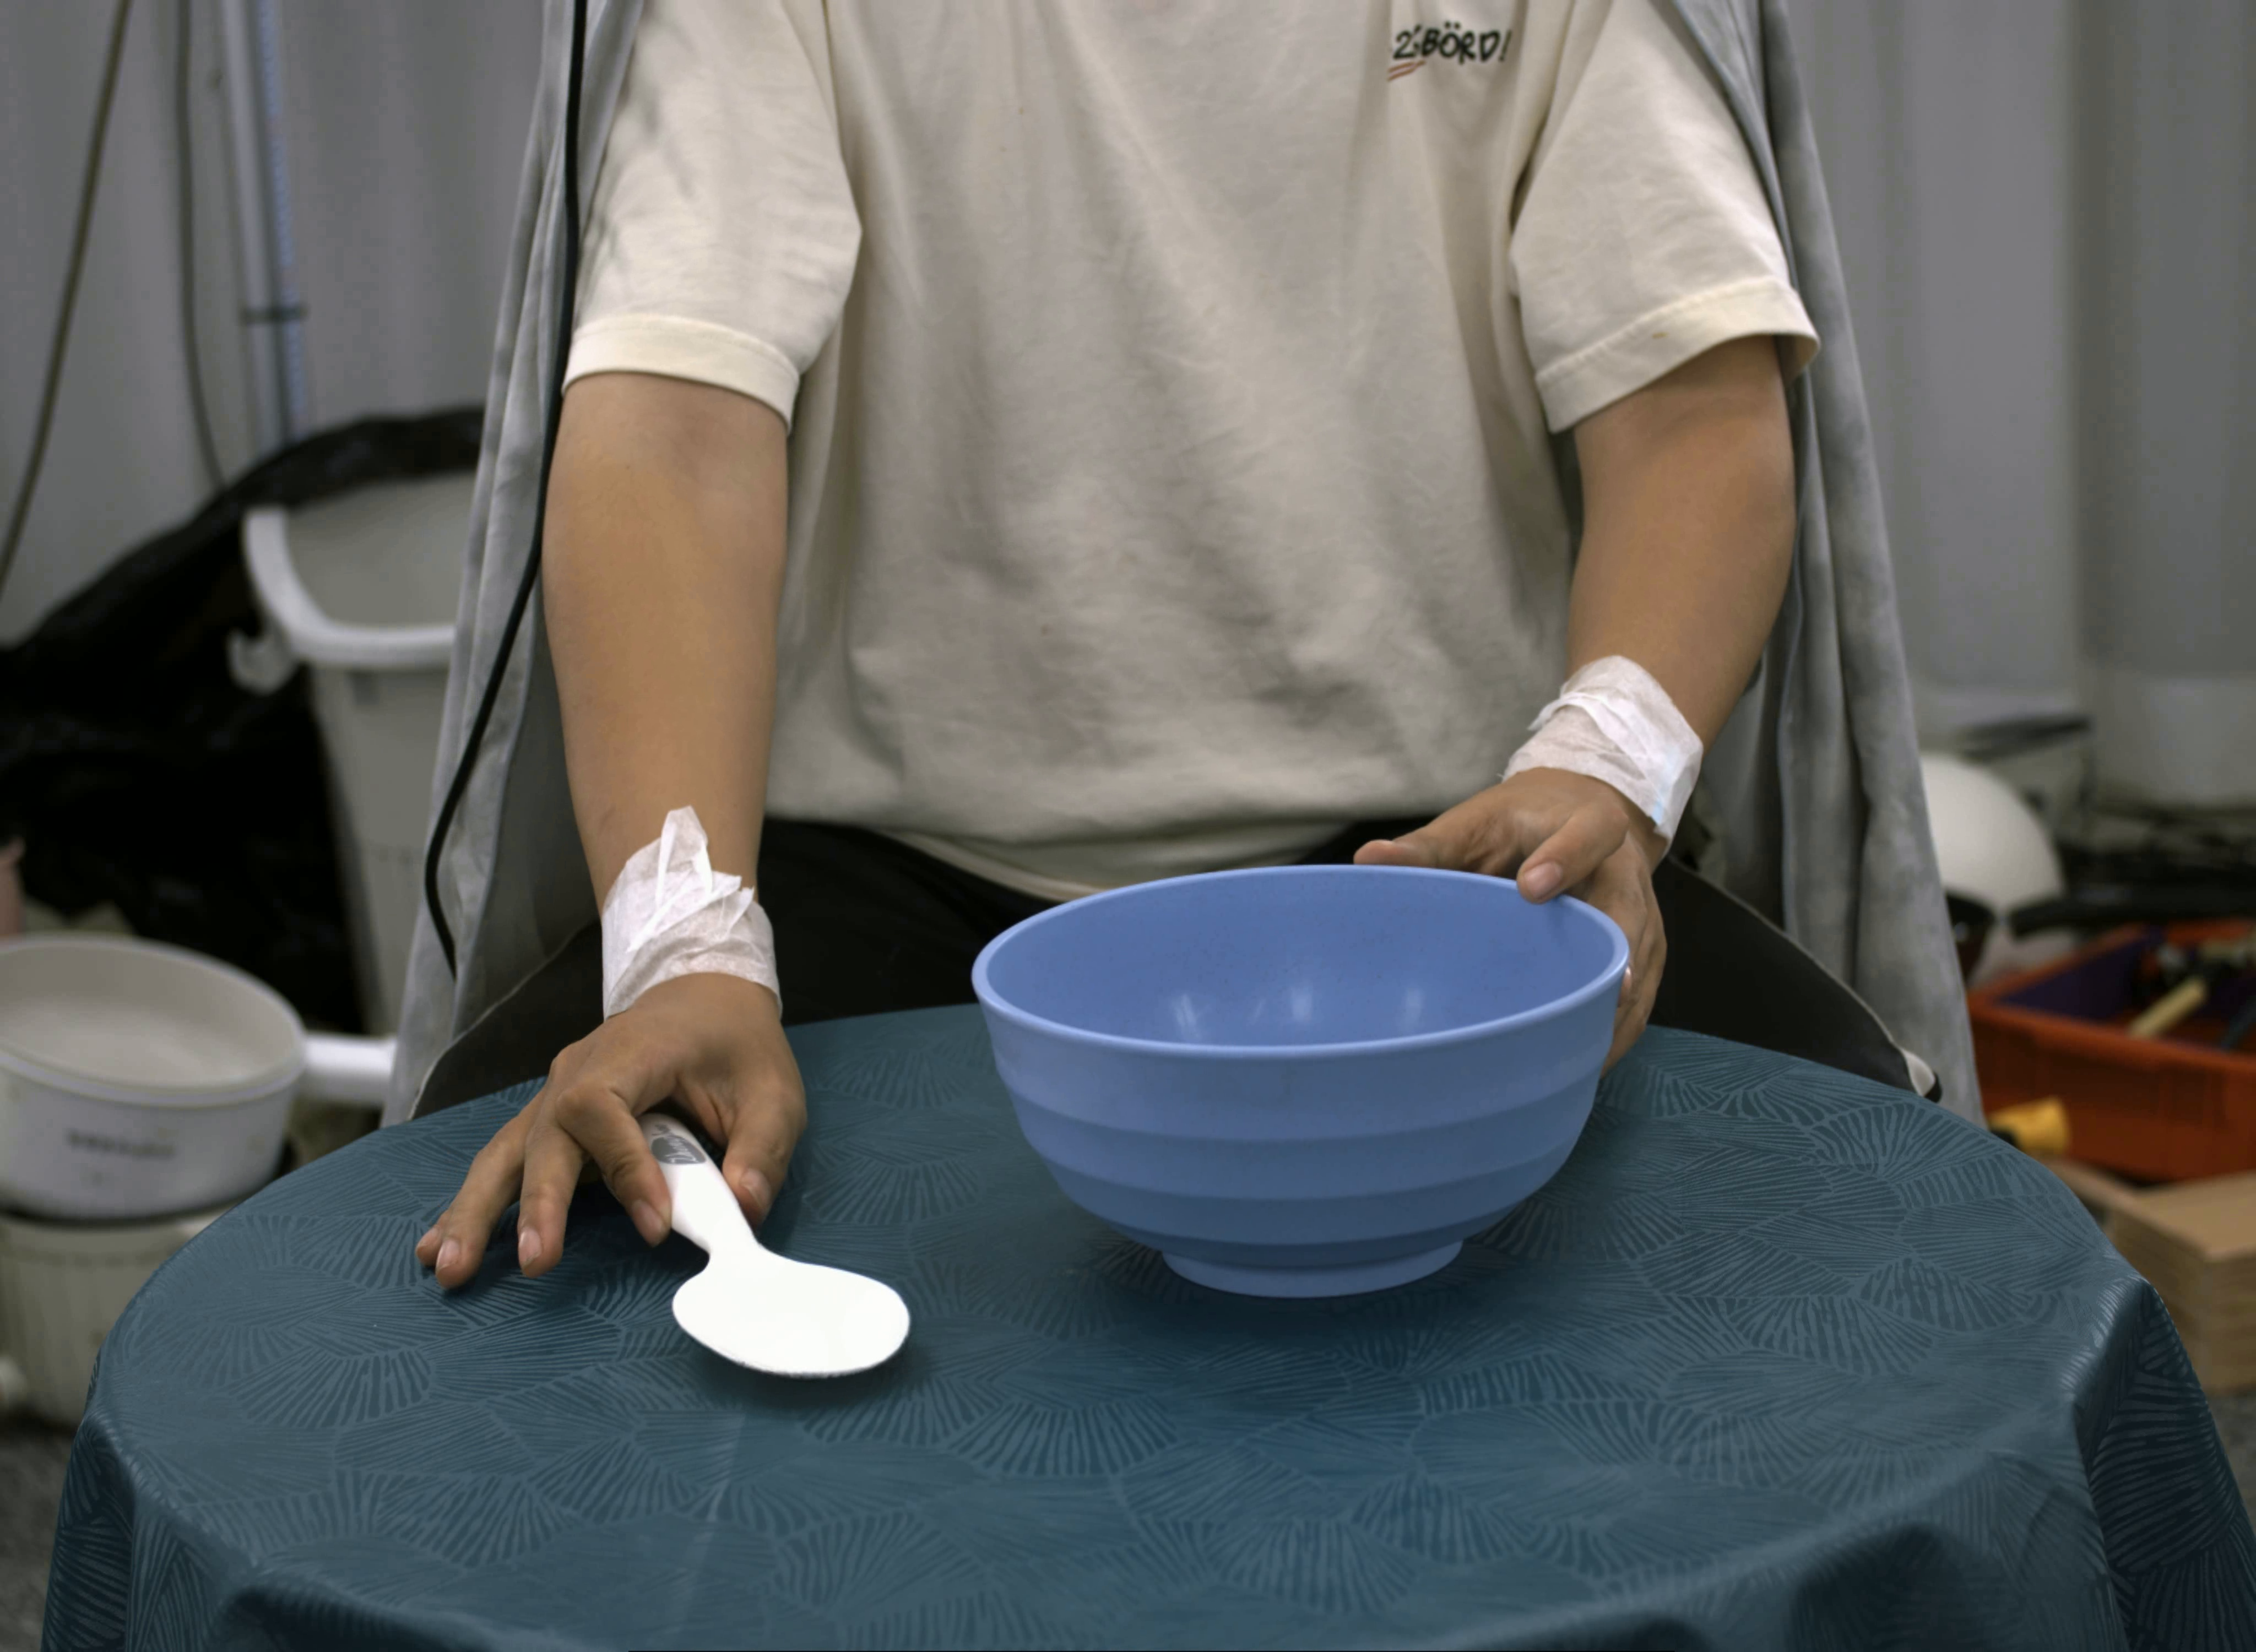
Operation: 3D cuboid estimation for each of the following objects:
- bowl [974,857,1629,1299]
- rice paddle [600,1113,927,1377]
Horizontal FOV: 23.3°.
[{"bbox_3d":[0.054,0.082,1.647,0.196,0.095,0.198,-3,16,1],"label":"bowl"},{"bbox_3d":[-0.115,0.128,1.635,0.068,0.029,0.207,-5,15,-20],"label":"rice paddle"}]
